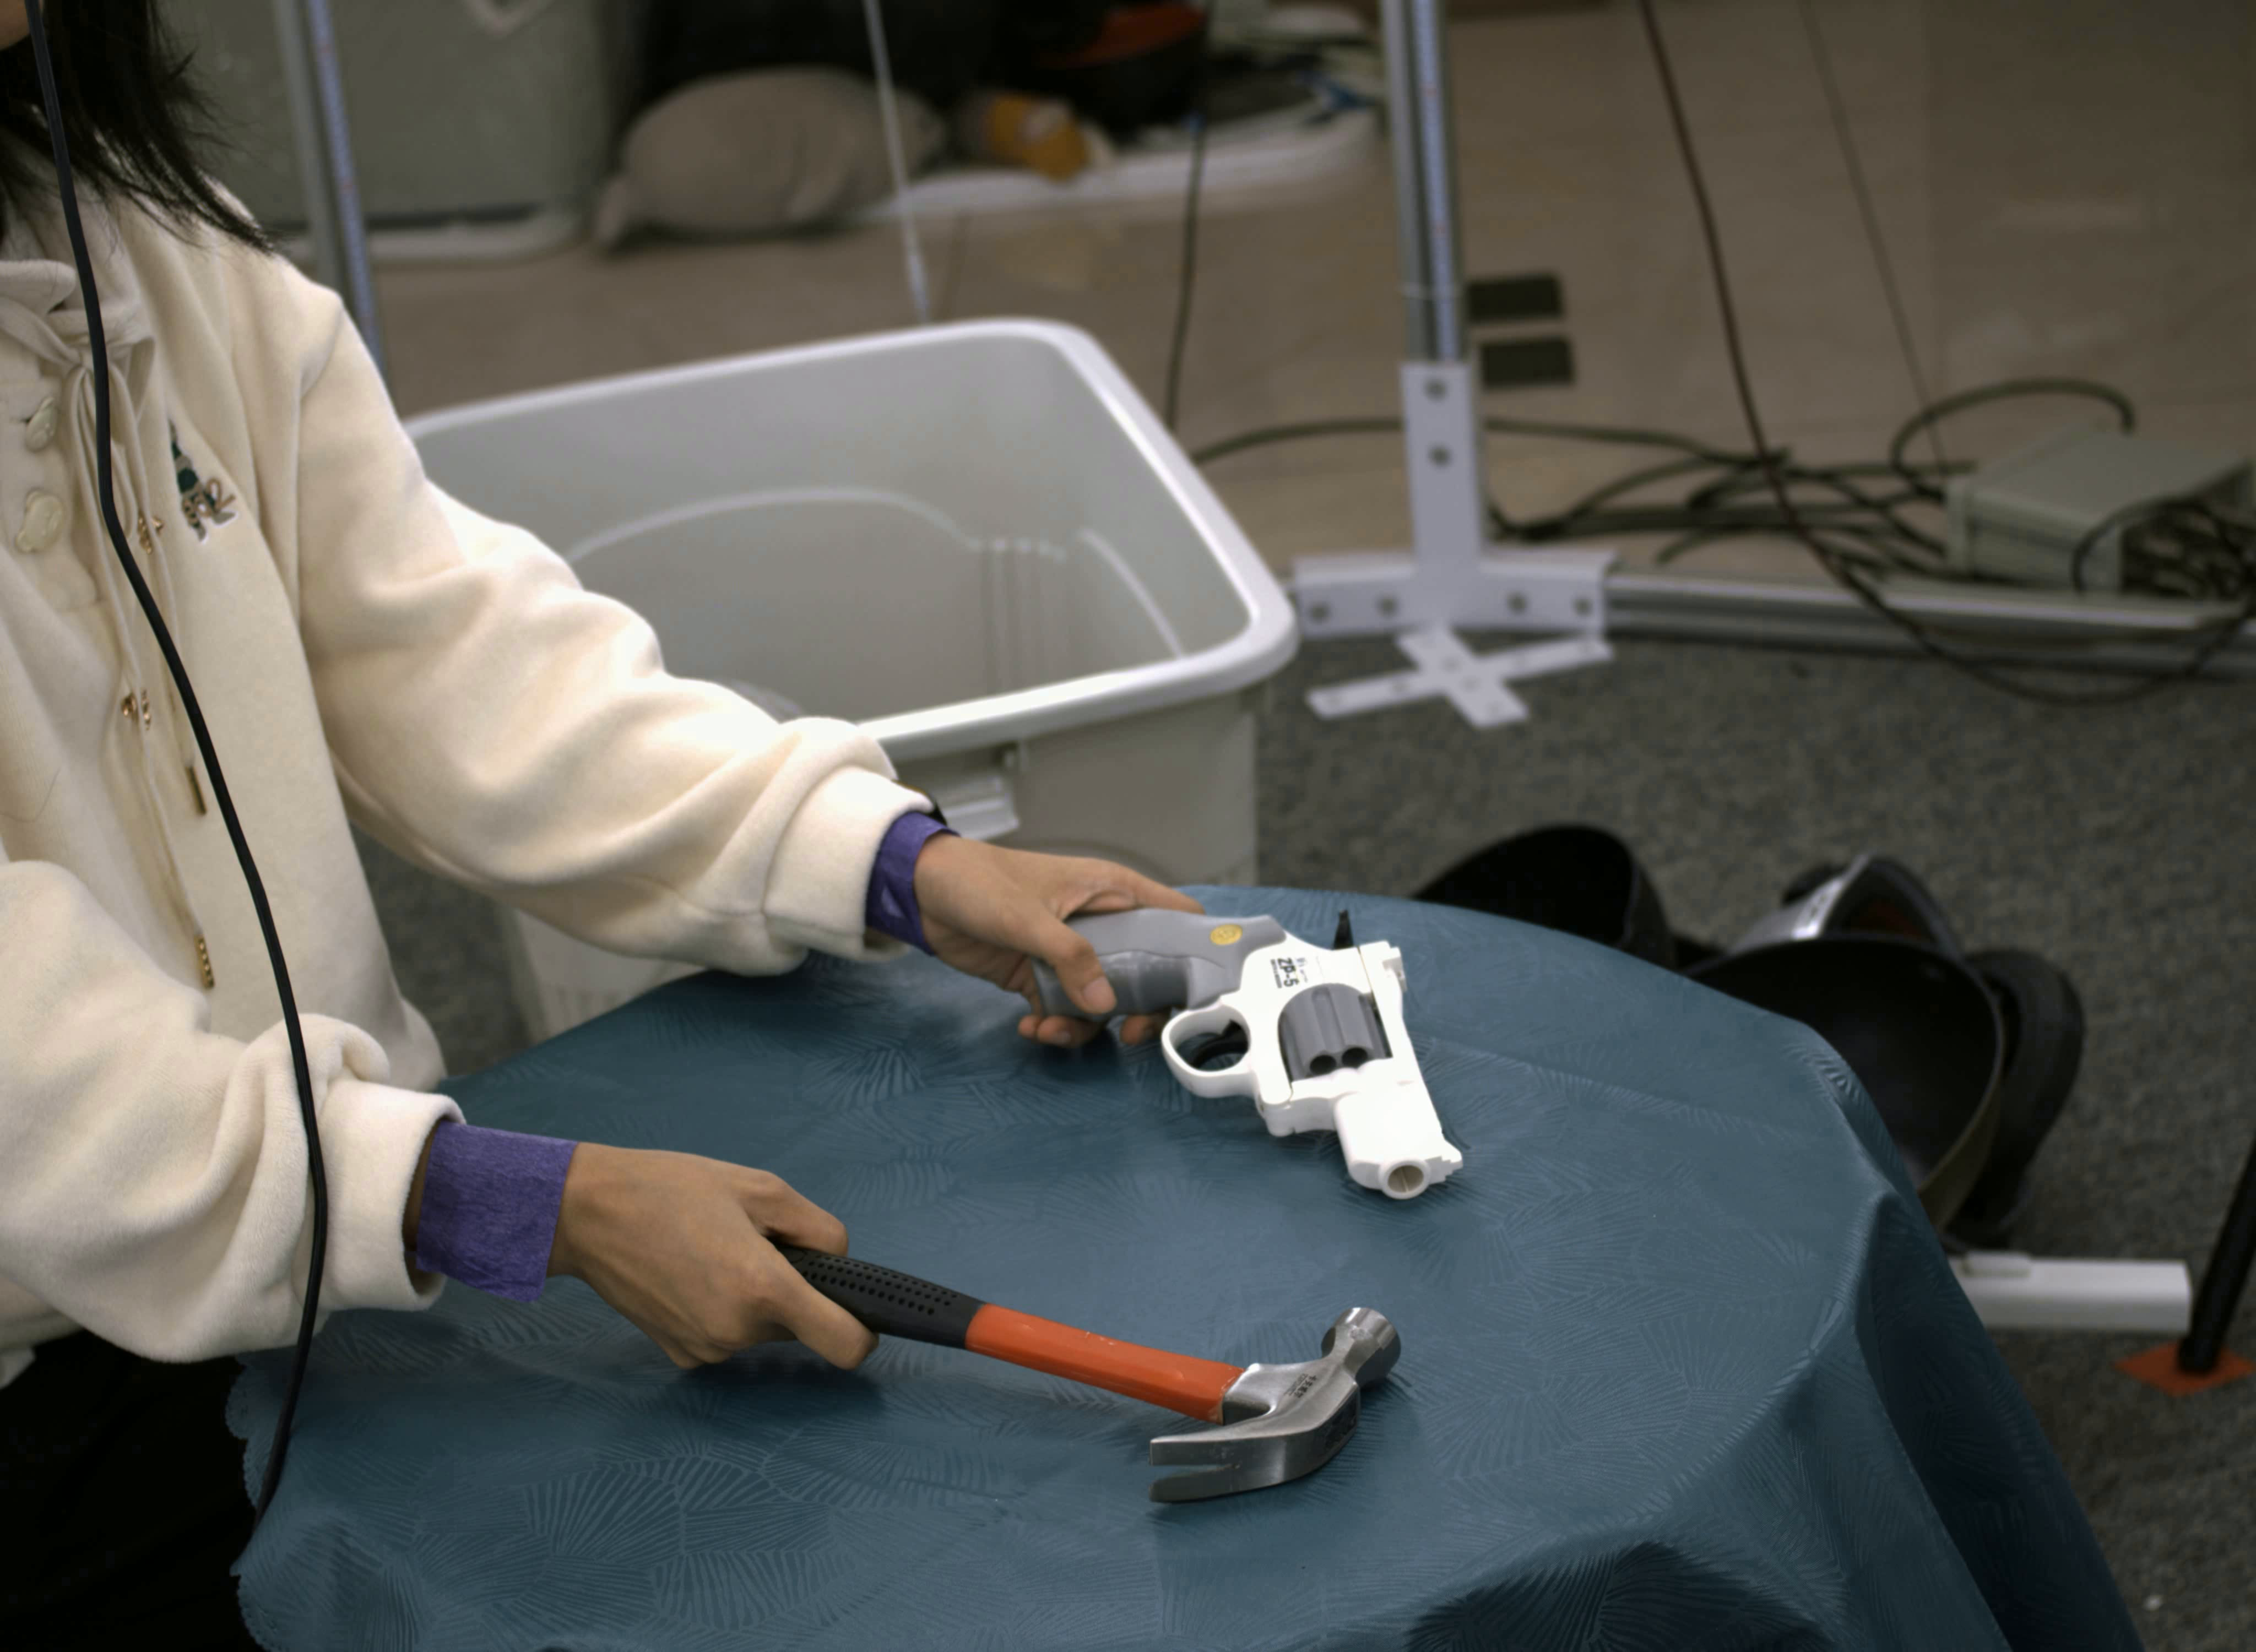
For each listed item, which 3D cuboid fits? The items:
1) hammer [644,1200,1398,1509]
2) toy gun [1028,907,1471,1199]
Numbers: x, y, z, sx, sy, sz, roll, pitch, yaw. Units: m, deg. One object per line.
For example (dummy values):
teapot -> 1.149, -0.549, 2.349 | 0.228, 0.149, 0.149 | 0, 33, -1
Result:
hammer -> -0.050, 0.177, 2.014 | 0.276, 0.027, 0.109 | 12, 40, 25
toy gun -> 0.043, 0.085, 2.194 | 0.141, 0.039, 0.205 | -13, 36, -3
